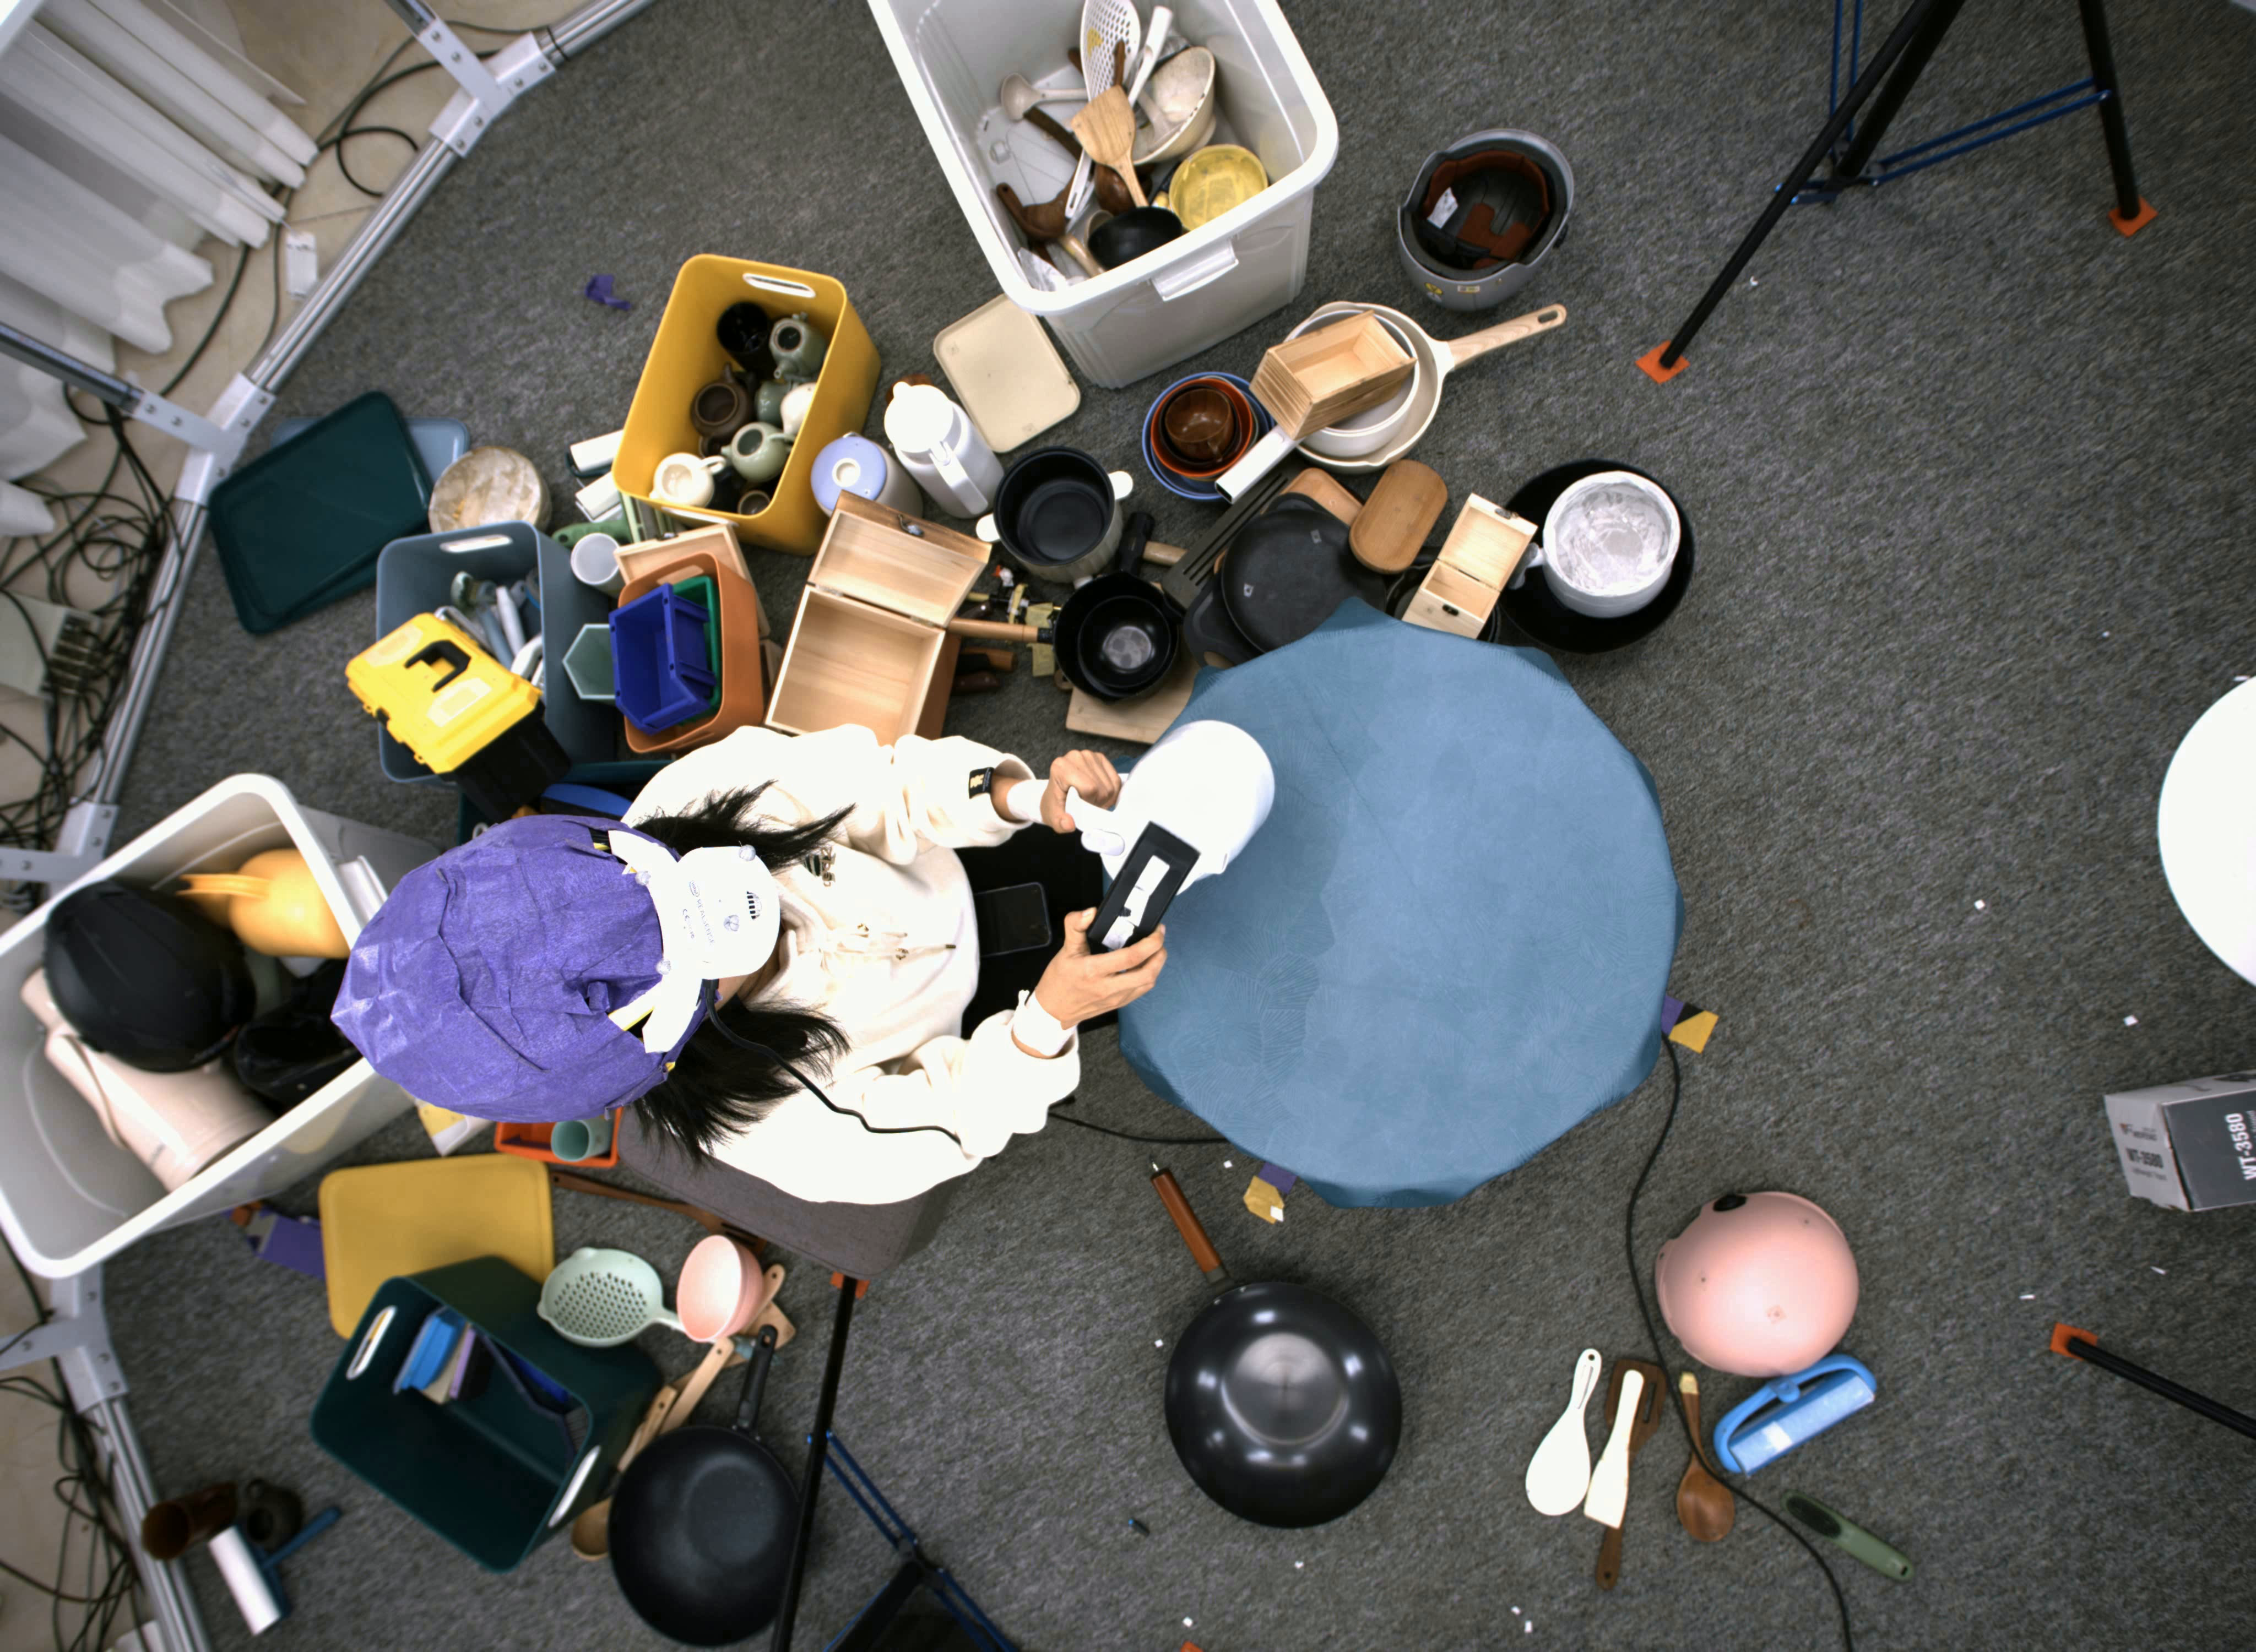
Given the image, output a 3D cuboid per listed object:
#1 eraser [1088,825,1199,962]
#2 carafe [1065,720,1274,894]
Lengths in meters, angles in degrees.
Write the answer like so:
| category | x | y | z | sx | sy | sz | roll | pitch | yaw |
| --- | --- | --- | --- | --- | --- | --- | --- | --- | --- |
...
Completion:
| category | x | y | z | sx | sy | sz | roll | pitch | yaw |
| --- | --- | --- | --- | --- | --- | --- | --- | --- | --- |
| eraser | 0.012 | 0.058 | 1.181 | 0.053 | 0.029 | 0.129 | 30 | 129 | 3 |
| carafe | 0.033 | -0.015 | 1.292 | 0.168 | 0.244 | 0.135 | 14 | 110 | 13 |
